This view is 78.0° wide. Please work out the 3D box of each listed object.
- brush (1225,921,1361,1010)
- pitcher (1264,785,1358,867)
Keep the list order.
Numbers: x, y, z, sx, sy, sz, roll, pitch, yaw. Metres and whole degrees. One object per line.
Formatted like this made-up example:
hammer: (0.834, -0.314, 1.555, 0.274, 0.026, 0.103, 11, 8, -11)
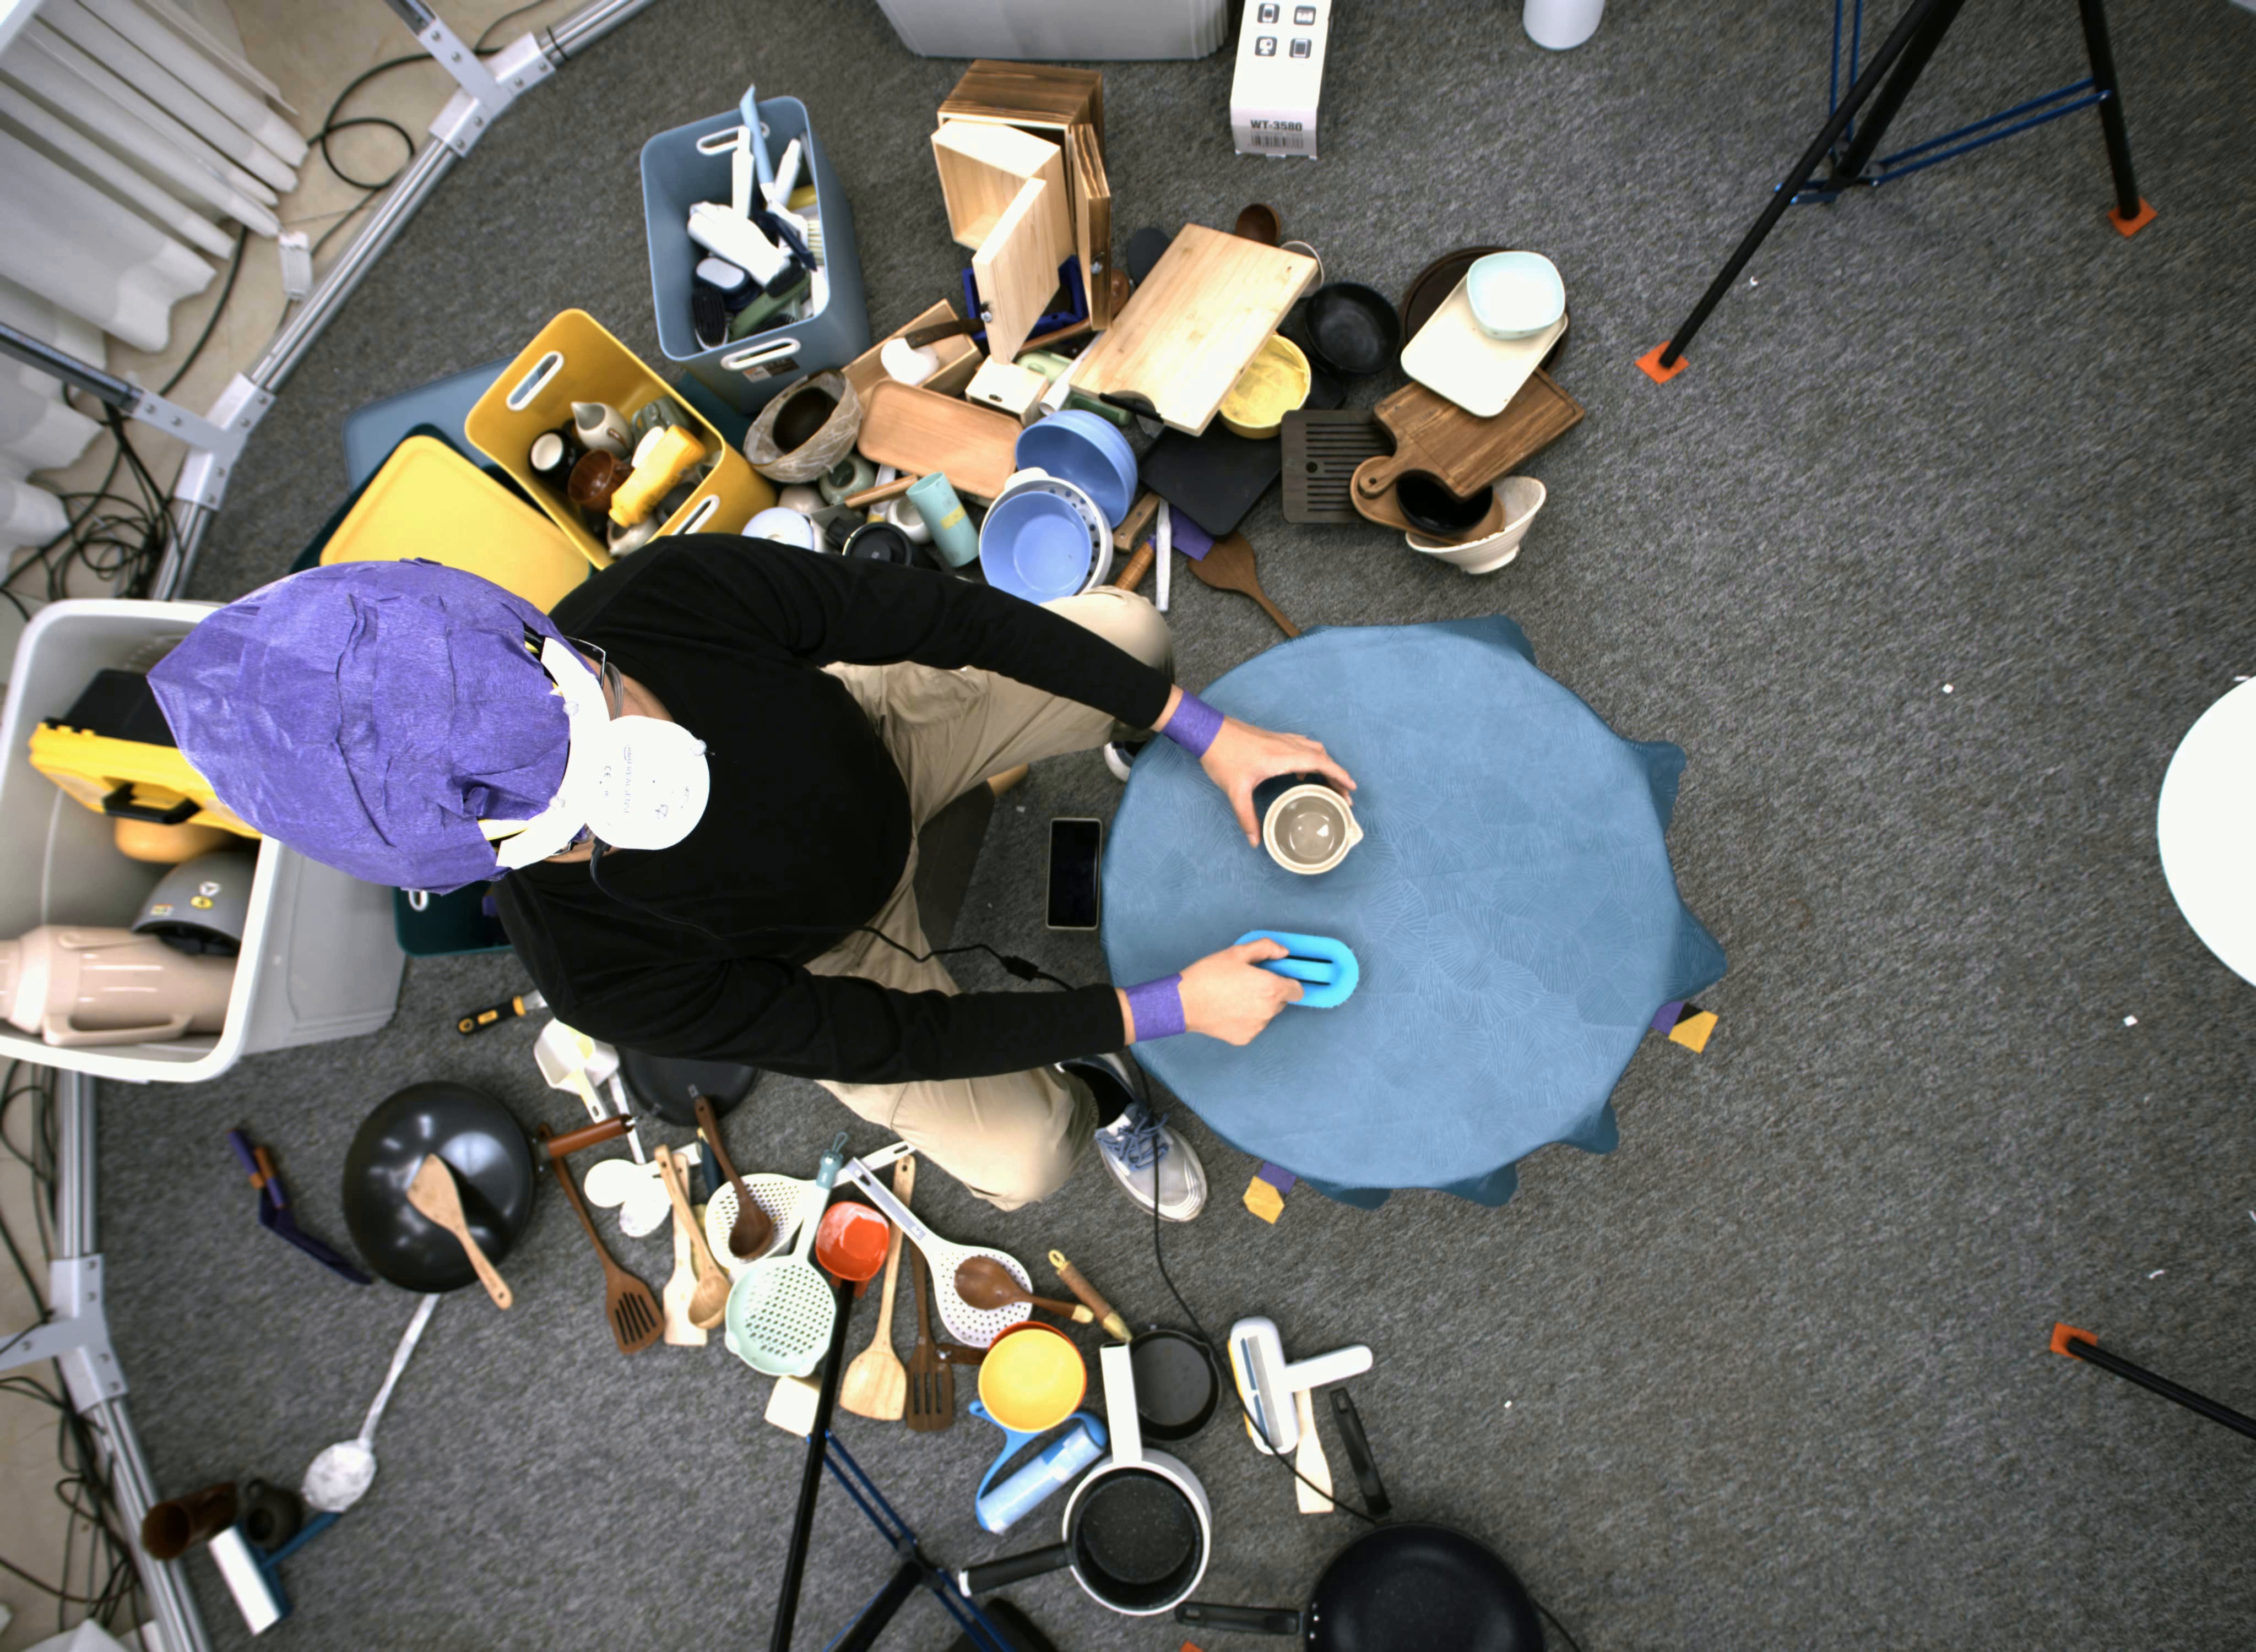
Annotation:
brush: (0.170, 0.144, 1.440, 0.142, 0.063, 0.084, 8, 91, 12)
pitcher: (0.191, 0.003, 1.439, 0.096, 0.071, 0.083, 12, 87, 9)
